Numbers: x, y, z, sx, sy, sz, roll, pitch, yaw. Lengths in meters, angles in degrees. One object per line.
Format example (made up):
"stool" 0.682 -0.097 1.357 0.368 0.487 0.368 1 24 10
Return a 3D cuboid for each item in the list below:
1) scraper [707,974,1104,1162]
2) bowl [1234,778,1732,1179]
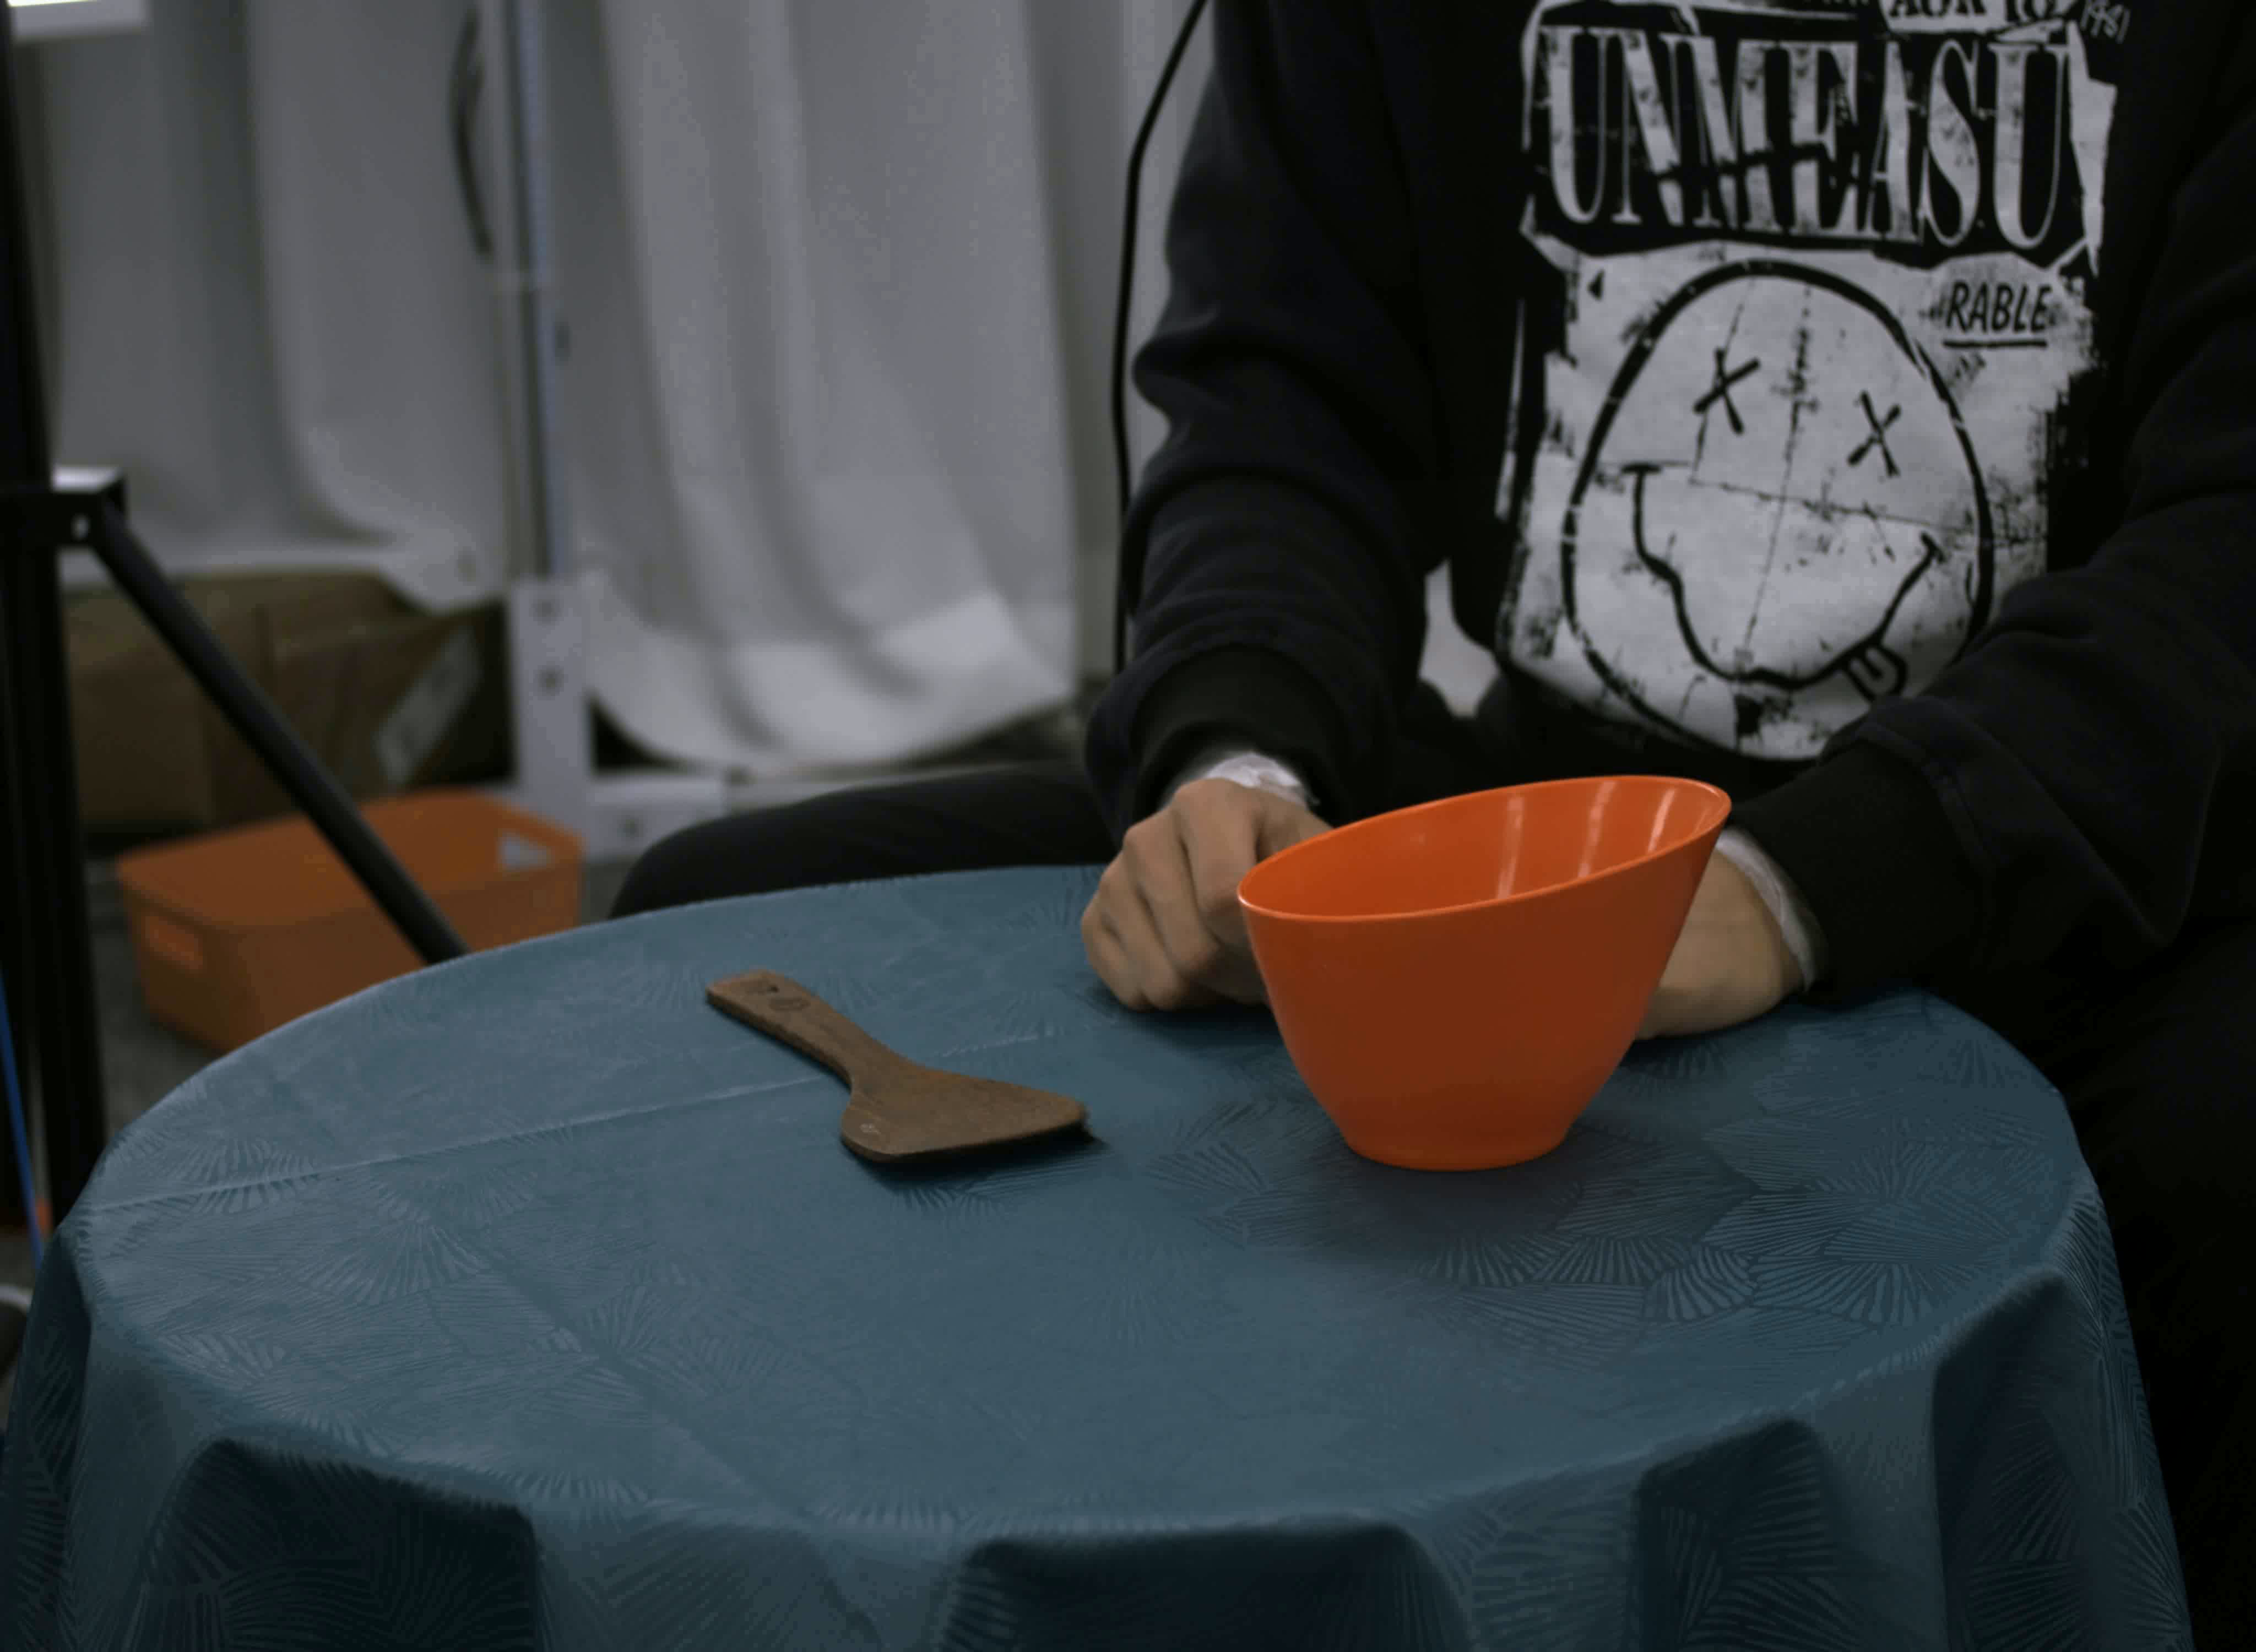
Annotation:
"scraper" -0.082 0.075 1.675 0.074 0.011 0.215 -8 16 -25
"bowl" 0.105 0.046 1.574 0.147 0.104 0.149 -3 16 -1
